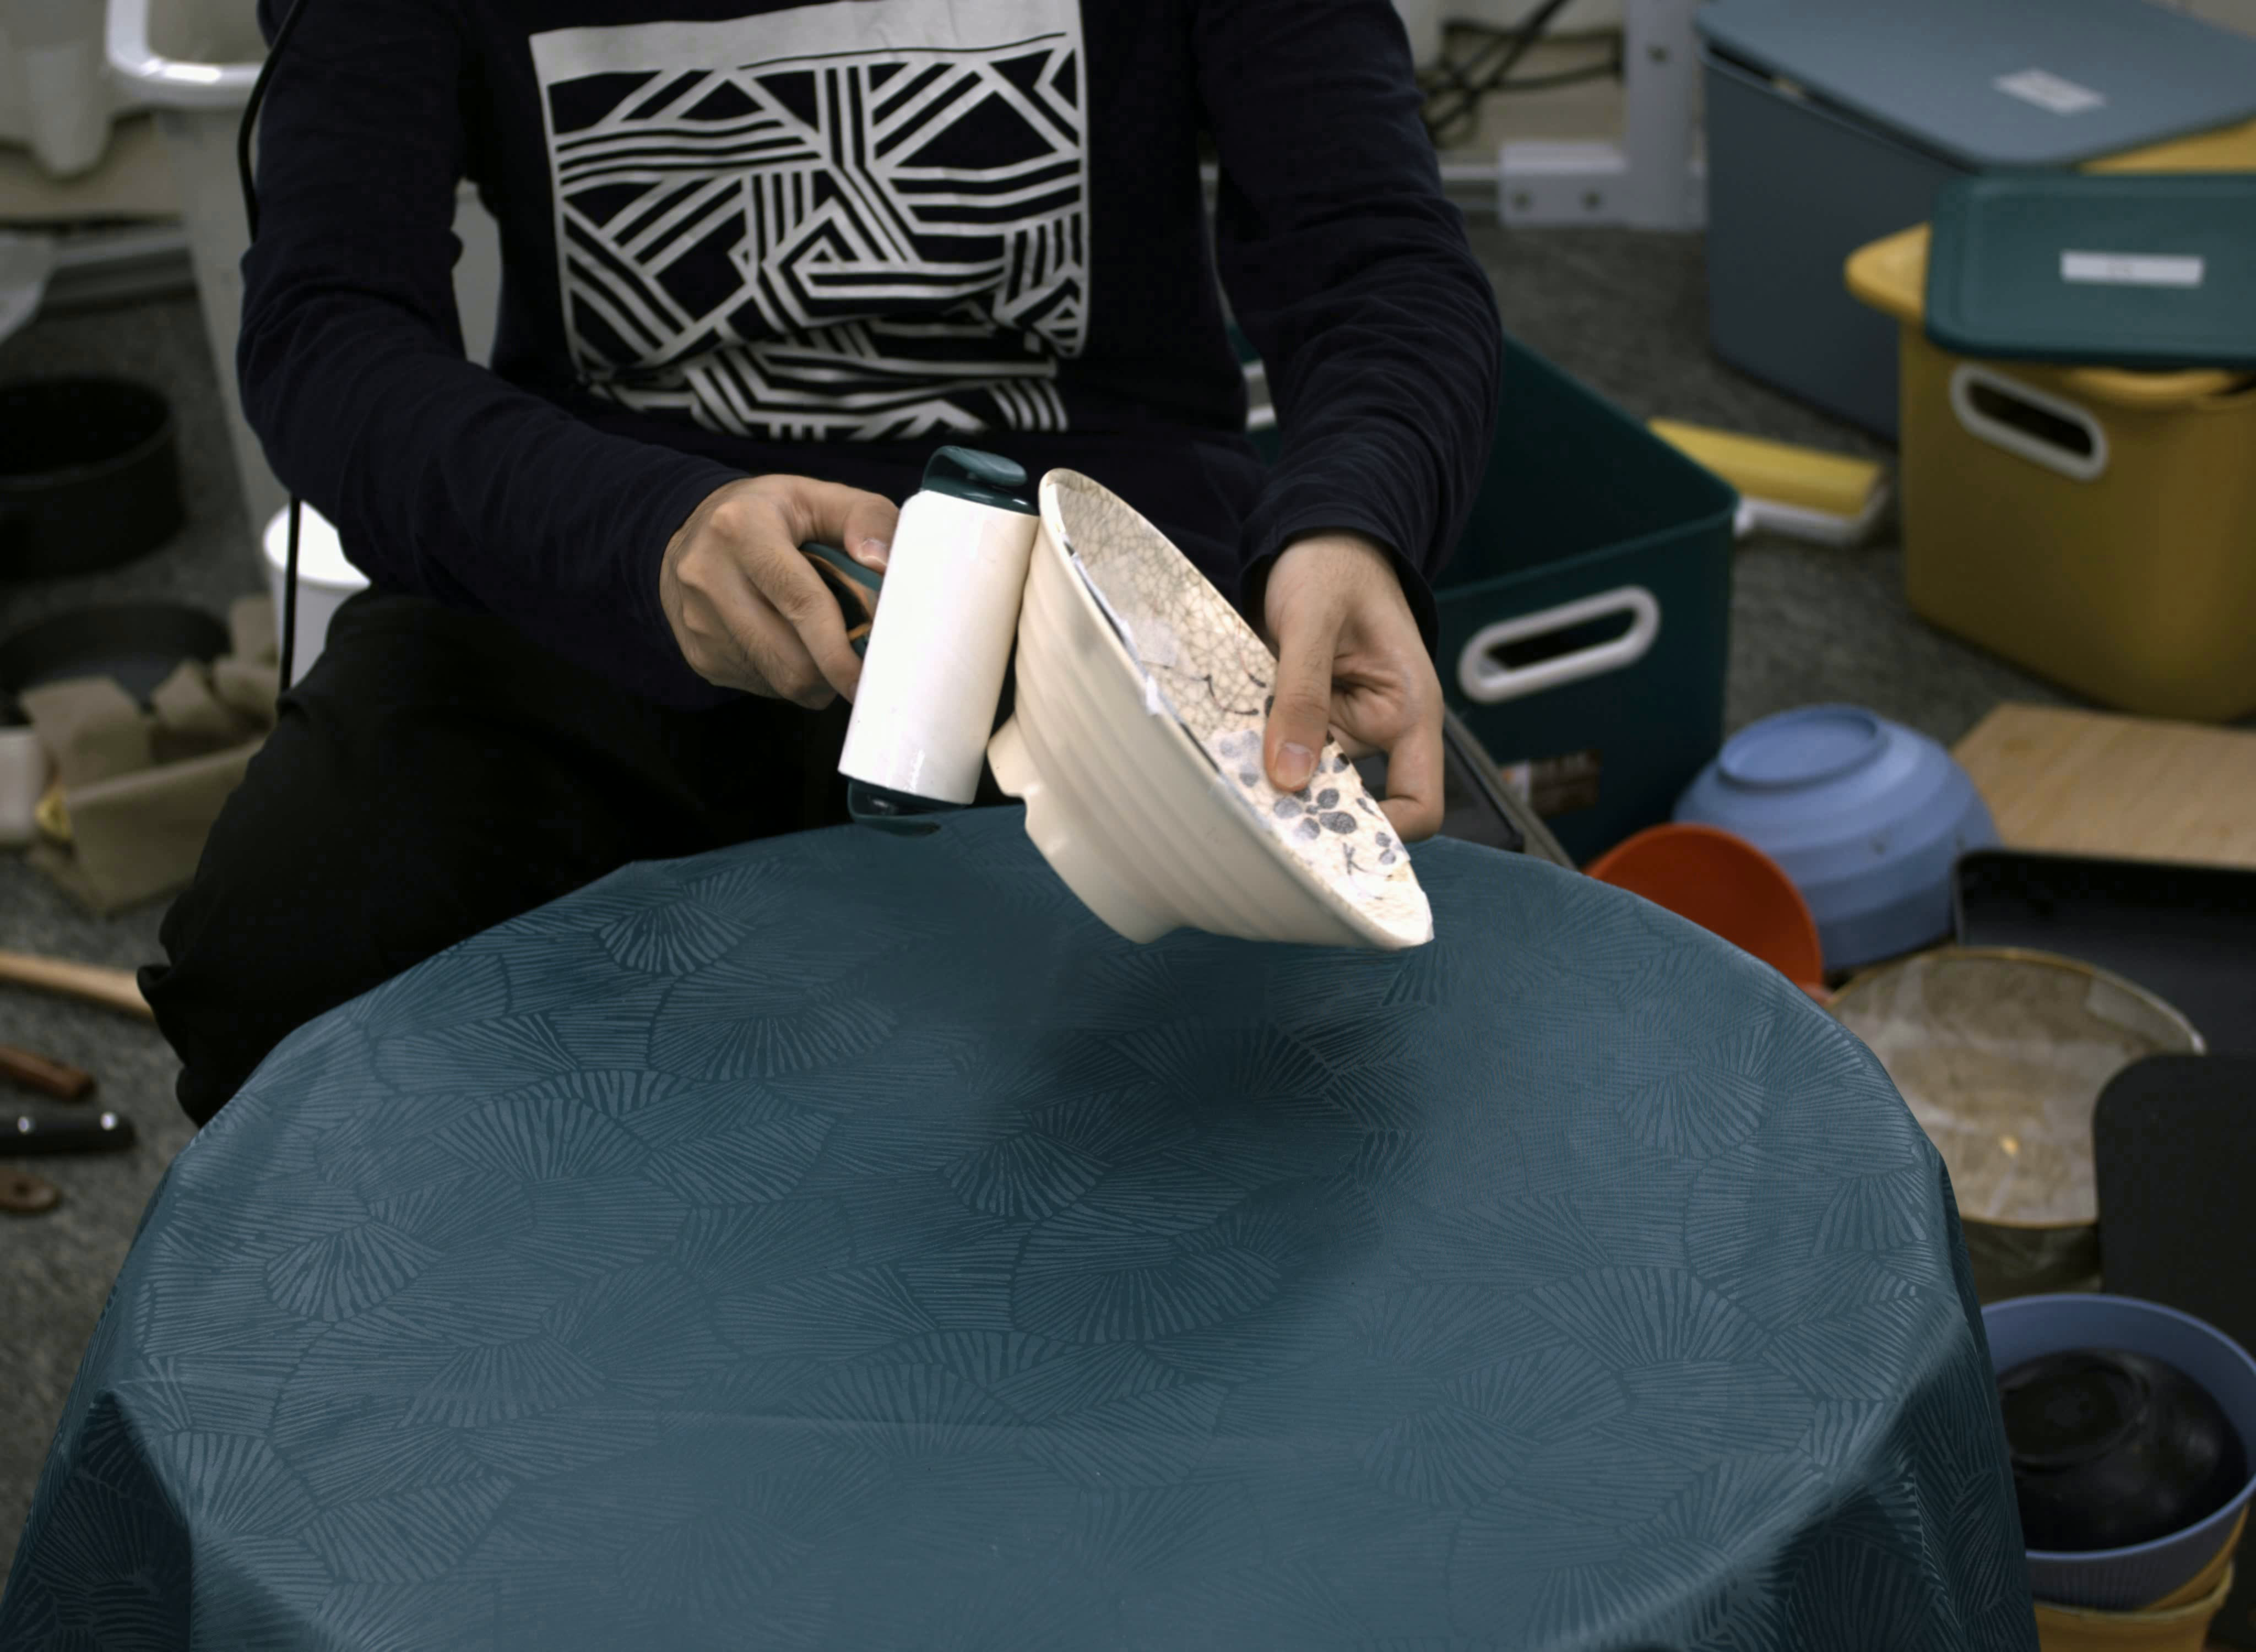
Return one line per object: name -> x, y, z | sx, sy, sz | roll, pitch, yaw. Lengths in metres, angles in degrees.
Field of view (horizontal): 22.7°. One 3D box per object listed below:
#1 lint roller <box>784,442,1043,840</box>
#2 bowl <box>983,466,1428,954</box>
lint roller -> -0.094, -0.072, 1.936 | 0.048, 0.135, 0.179 | 13, 2, -31
bowl -> 0.009, -0.017, 1.876 | 0.077, 0.202, 0.206 | -39, 28, 8
